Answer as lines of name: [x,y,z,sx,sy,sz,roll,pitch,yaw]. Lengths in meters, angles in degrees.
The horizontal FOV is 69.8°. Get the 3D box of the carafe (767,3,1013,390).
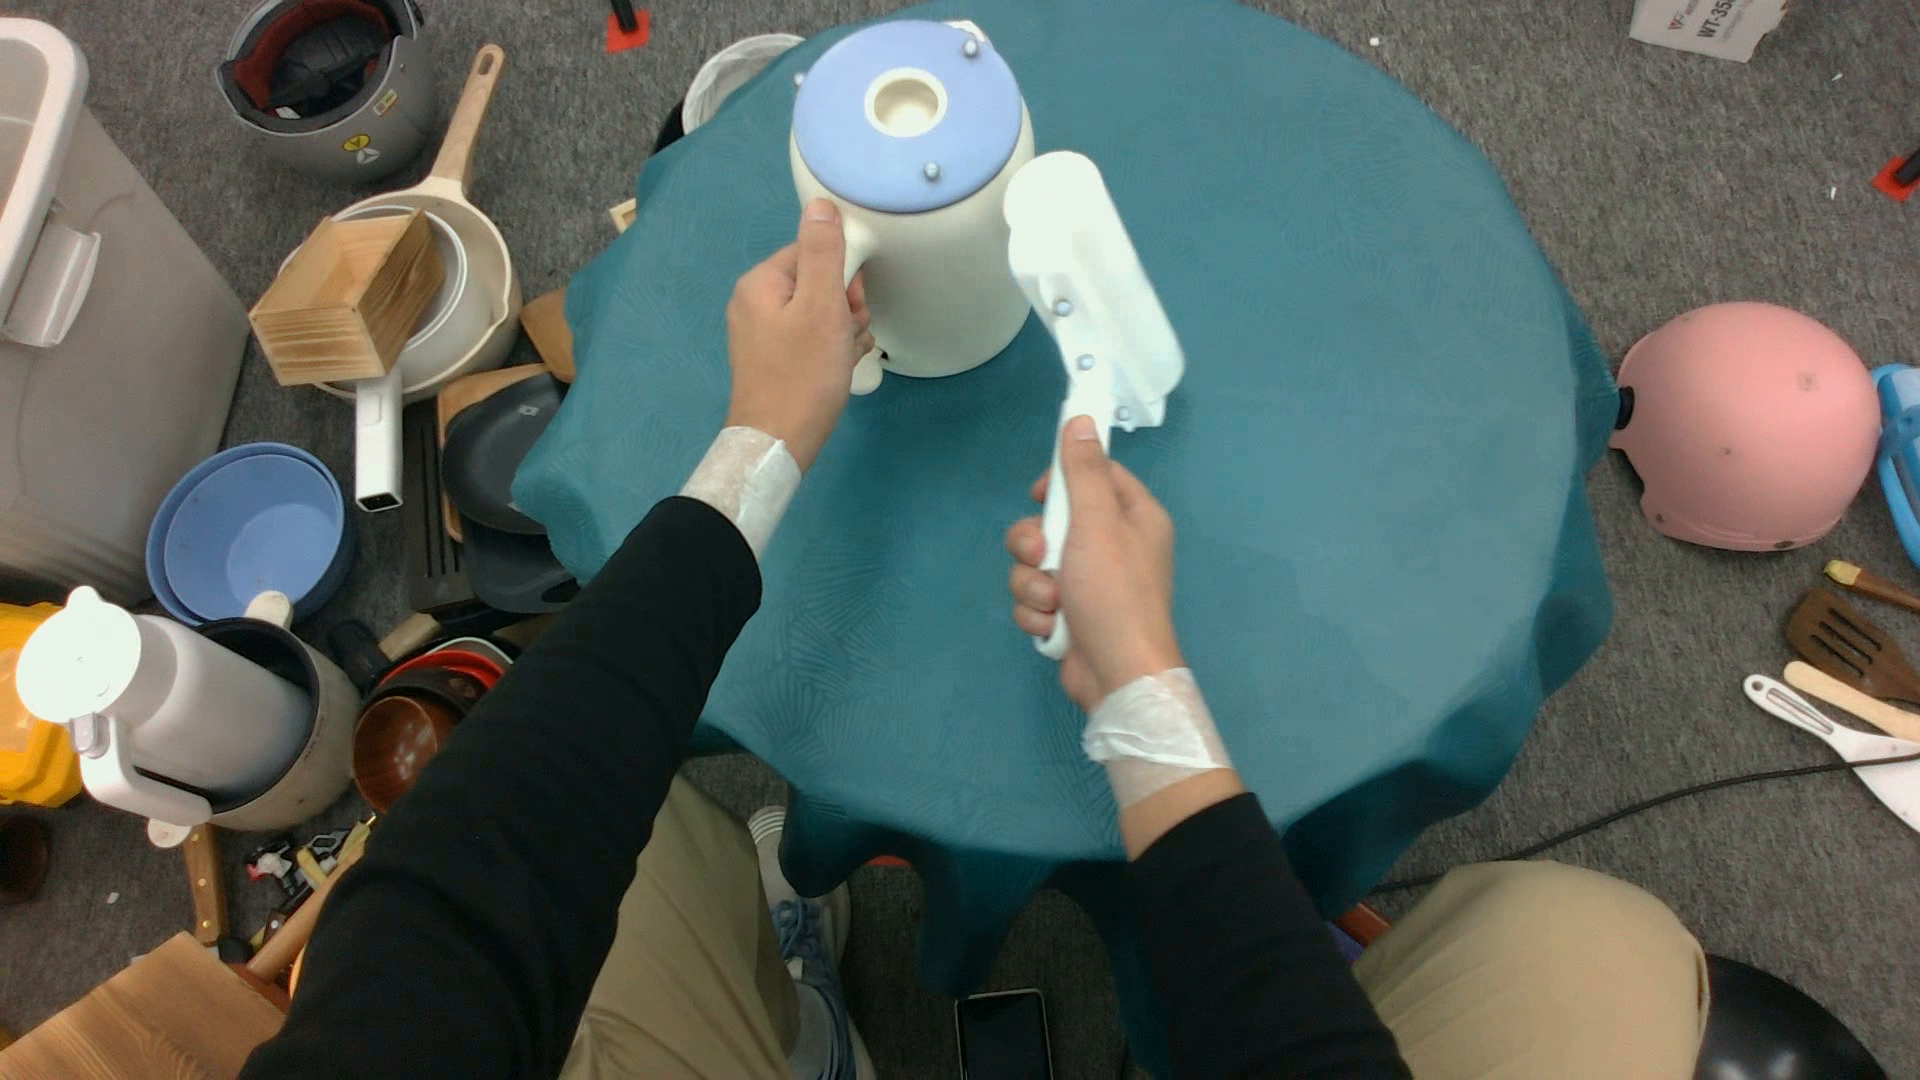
carafe: [-0.046,-0.175,0.773,0.132,0.182,0.191,24,73,12]

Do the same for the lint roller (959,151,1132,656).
lint roller: [0.059,-0.053,0.694,0.048,0.202,0.226,-13,69,14]
